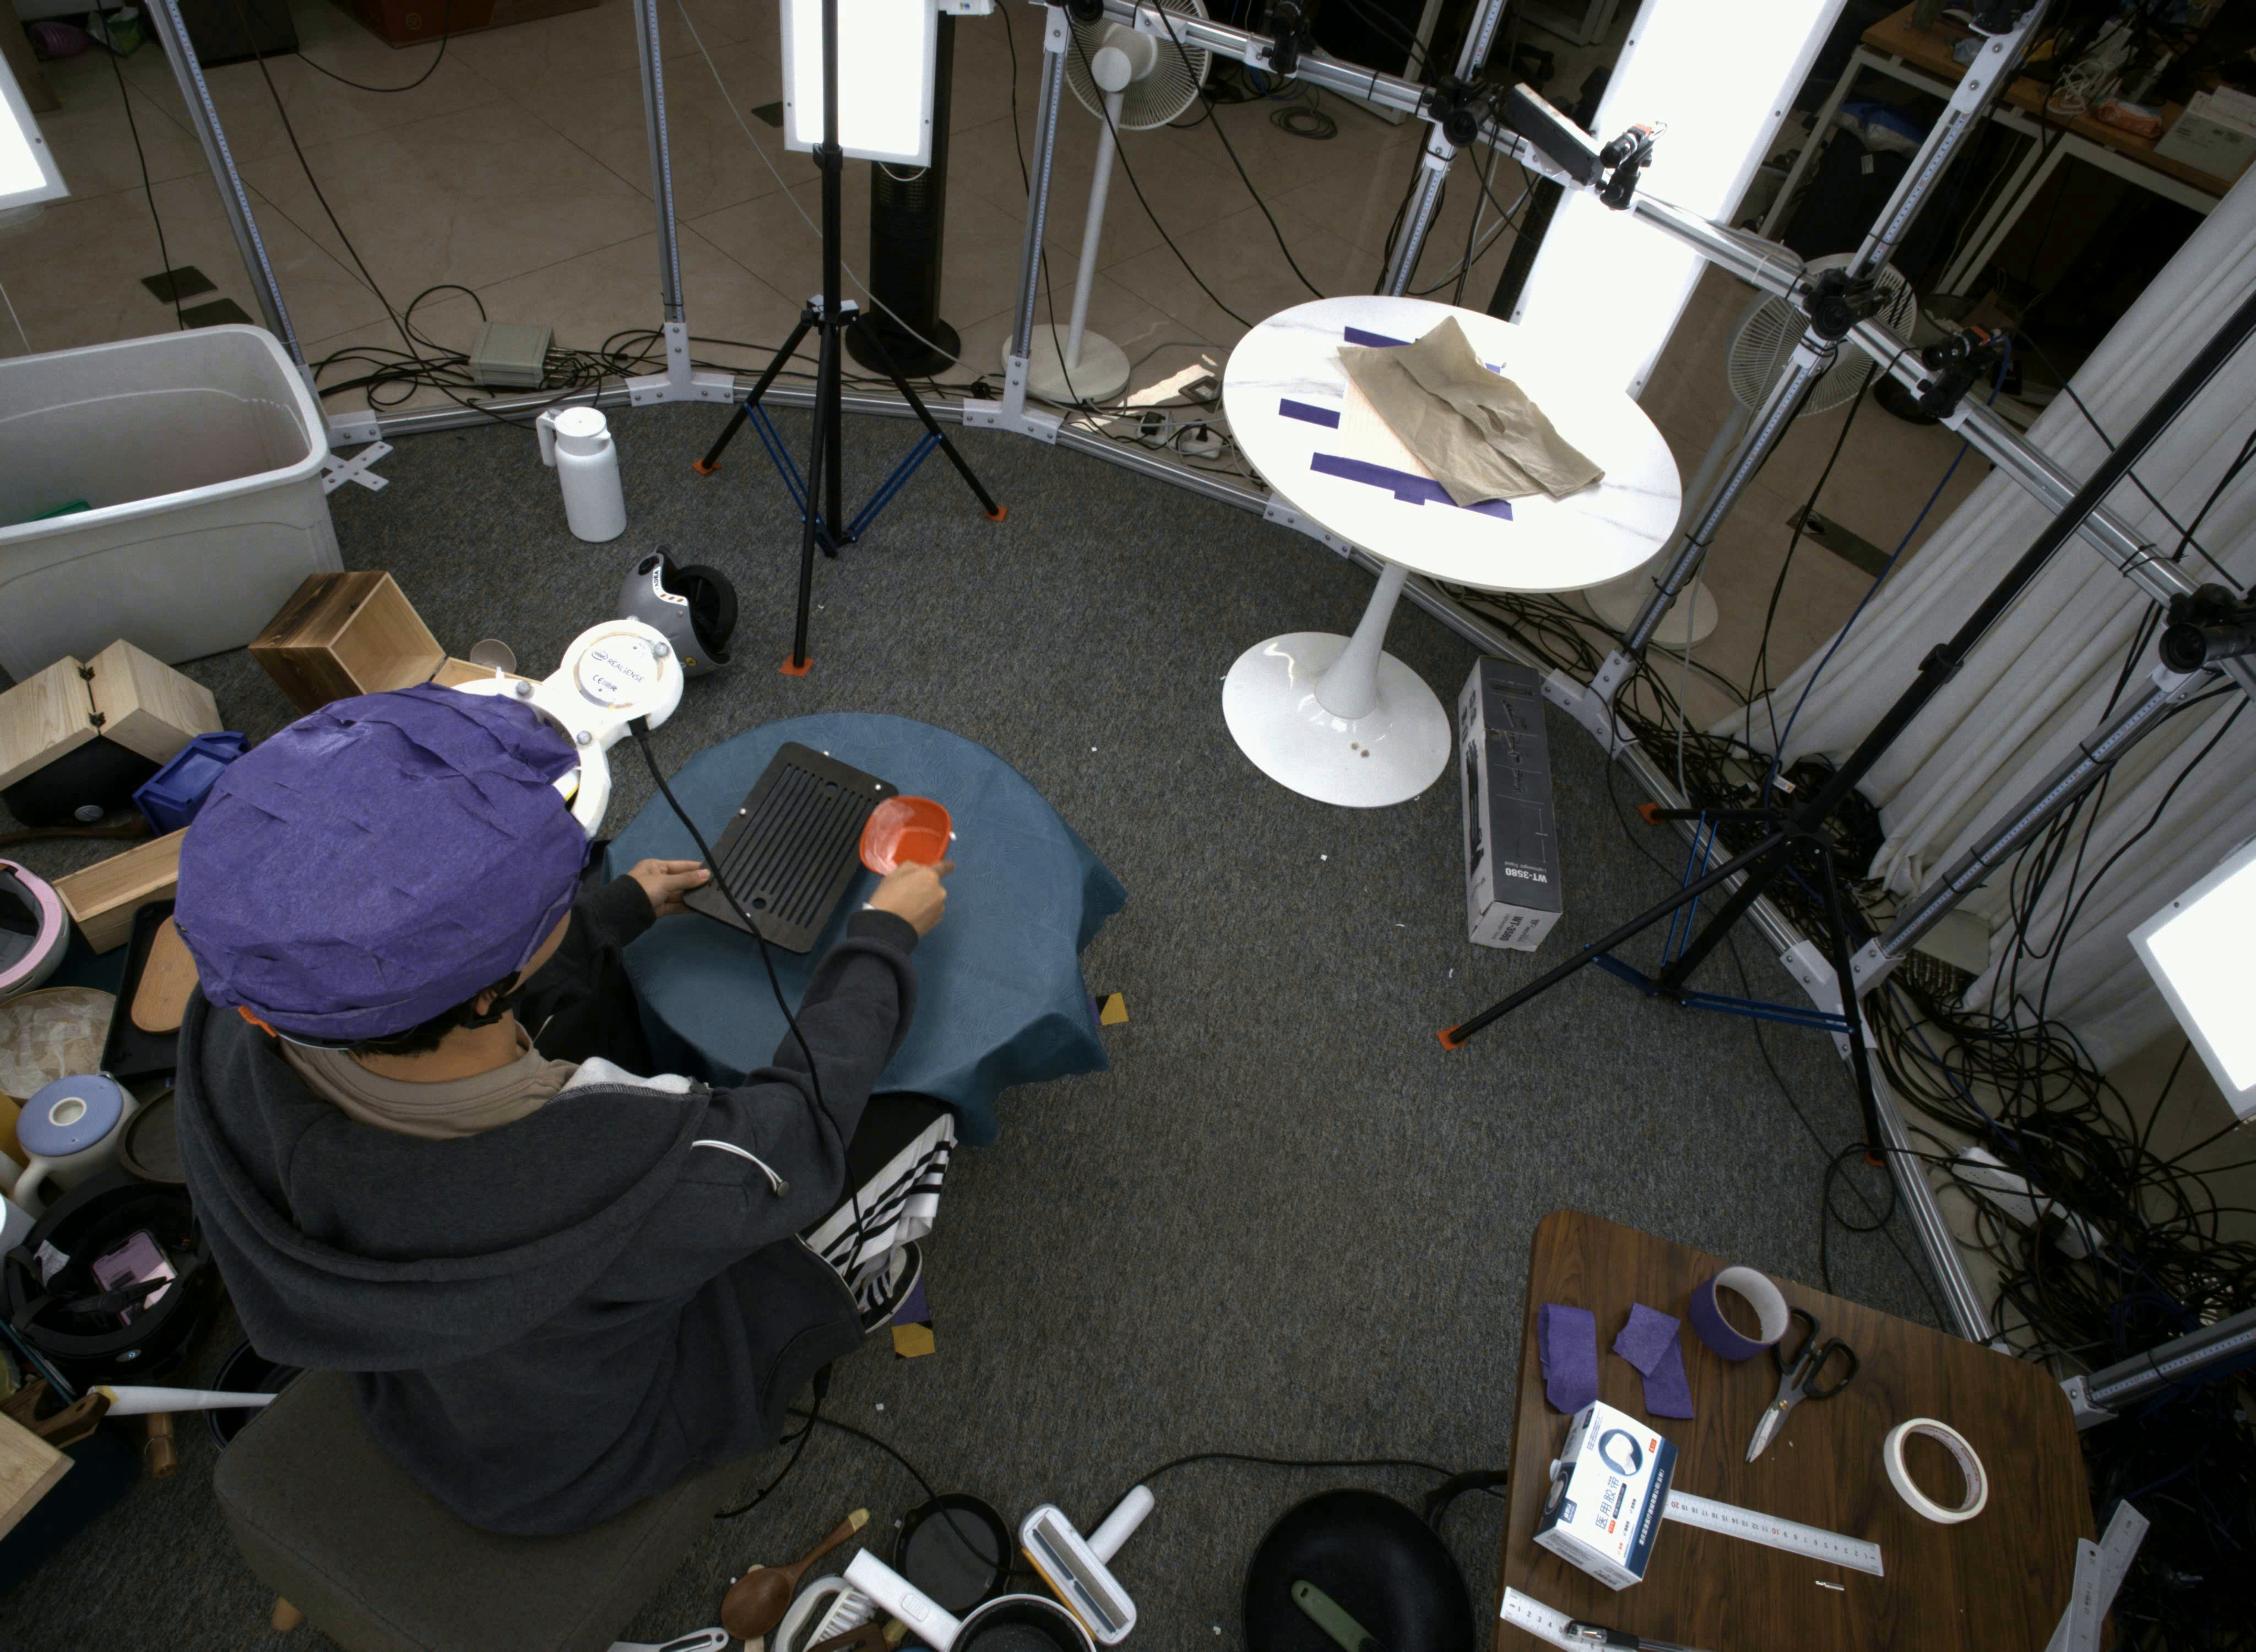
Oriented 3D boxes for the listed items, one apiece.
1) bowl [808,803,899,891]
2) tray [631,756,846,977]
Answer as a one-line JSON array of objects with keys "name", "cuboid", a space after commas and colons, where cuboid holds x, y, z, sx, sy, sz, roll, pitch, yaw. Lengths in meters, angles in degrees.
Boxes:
[{"name": "bowl", "cuboid": [-0.325, 0.032, 1.570, 0.117, 0.053, 0.117, -3, 65, 8]}, {"name": "tray", "cuboid": [-0.482, 0.044, 1.618, 0.170, 0.019, 0.302, 22, 47, -7]}]
